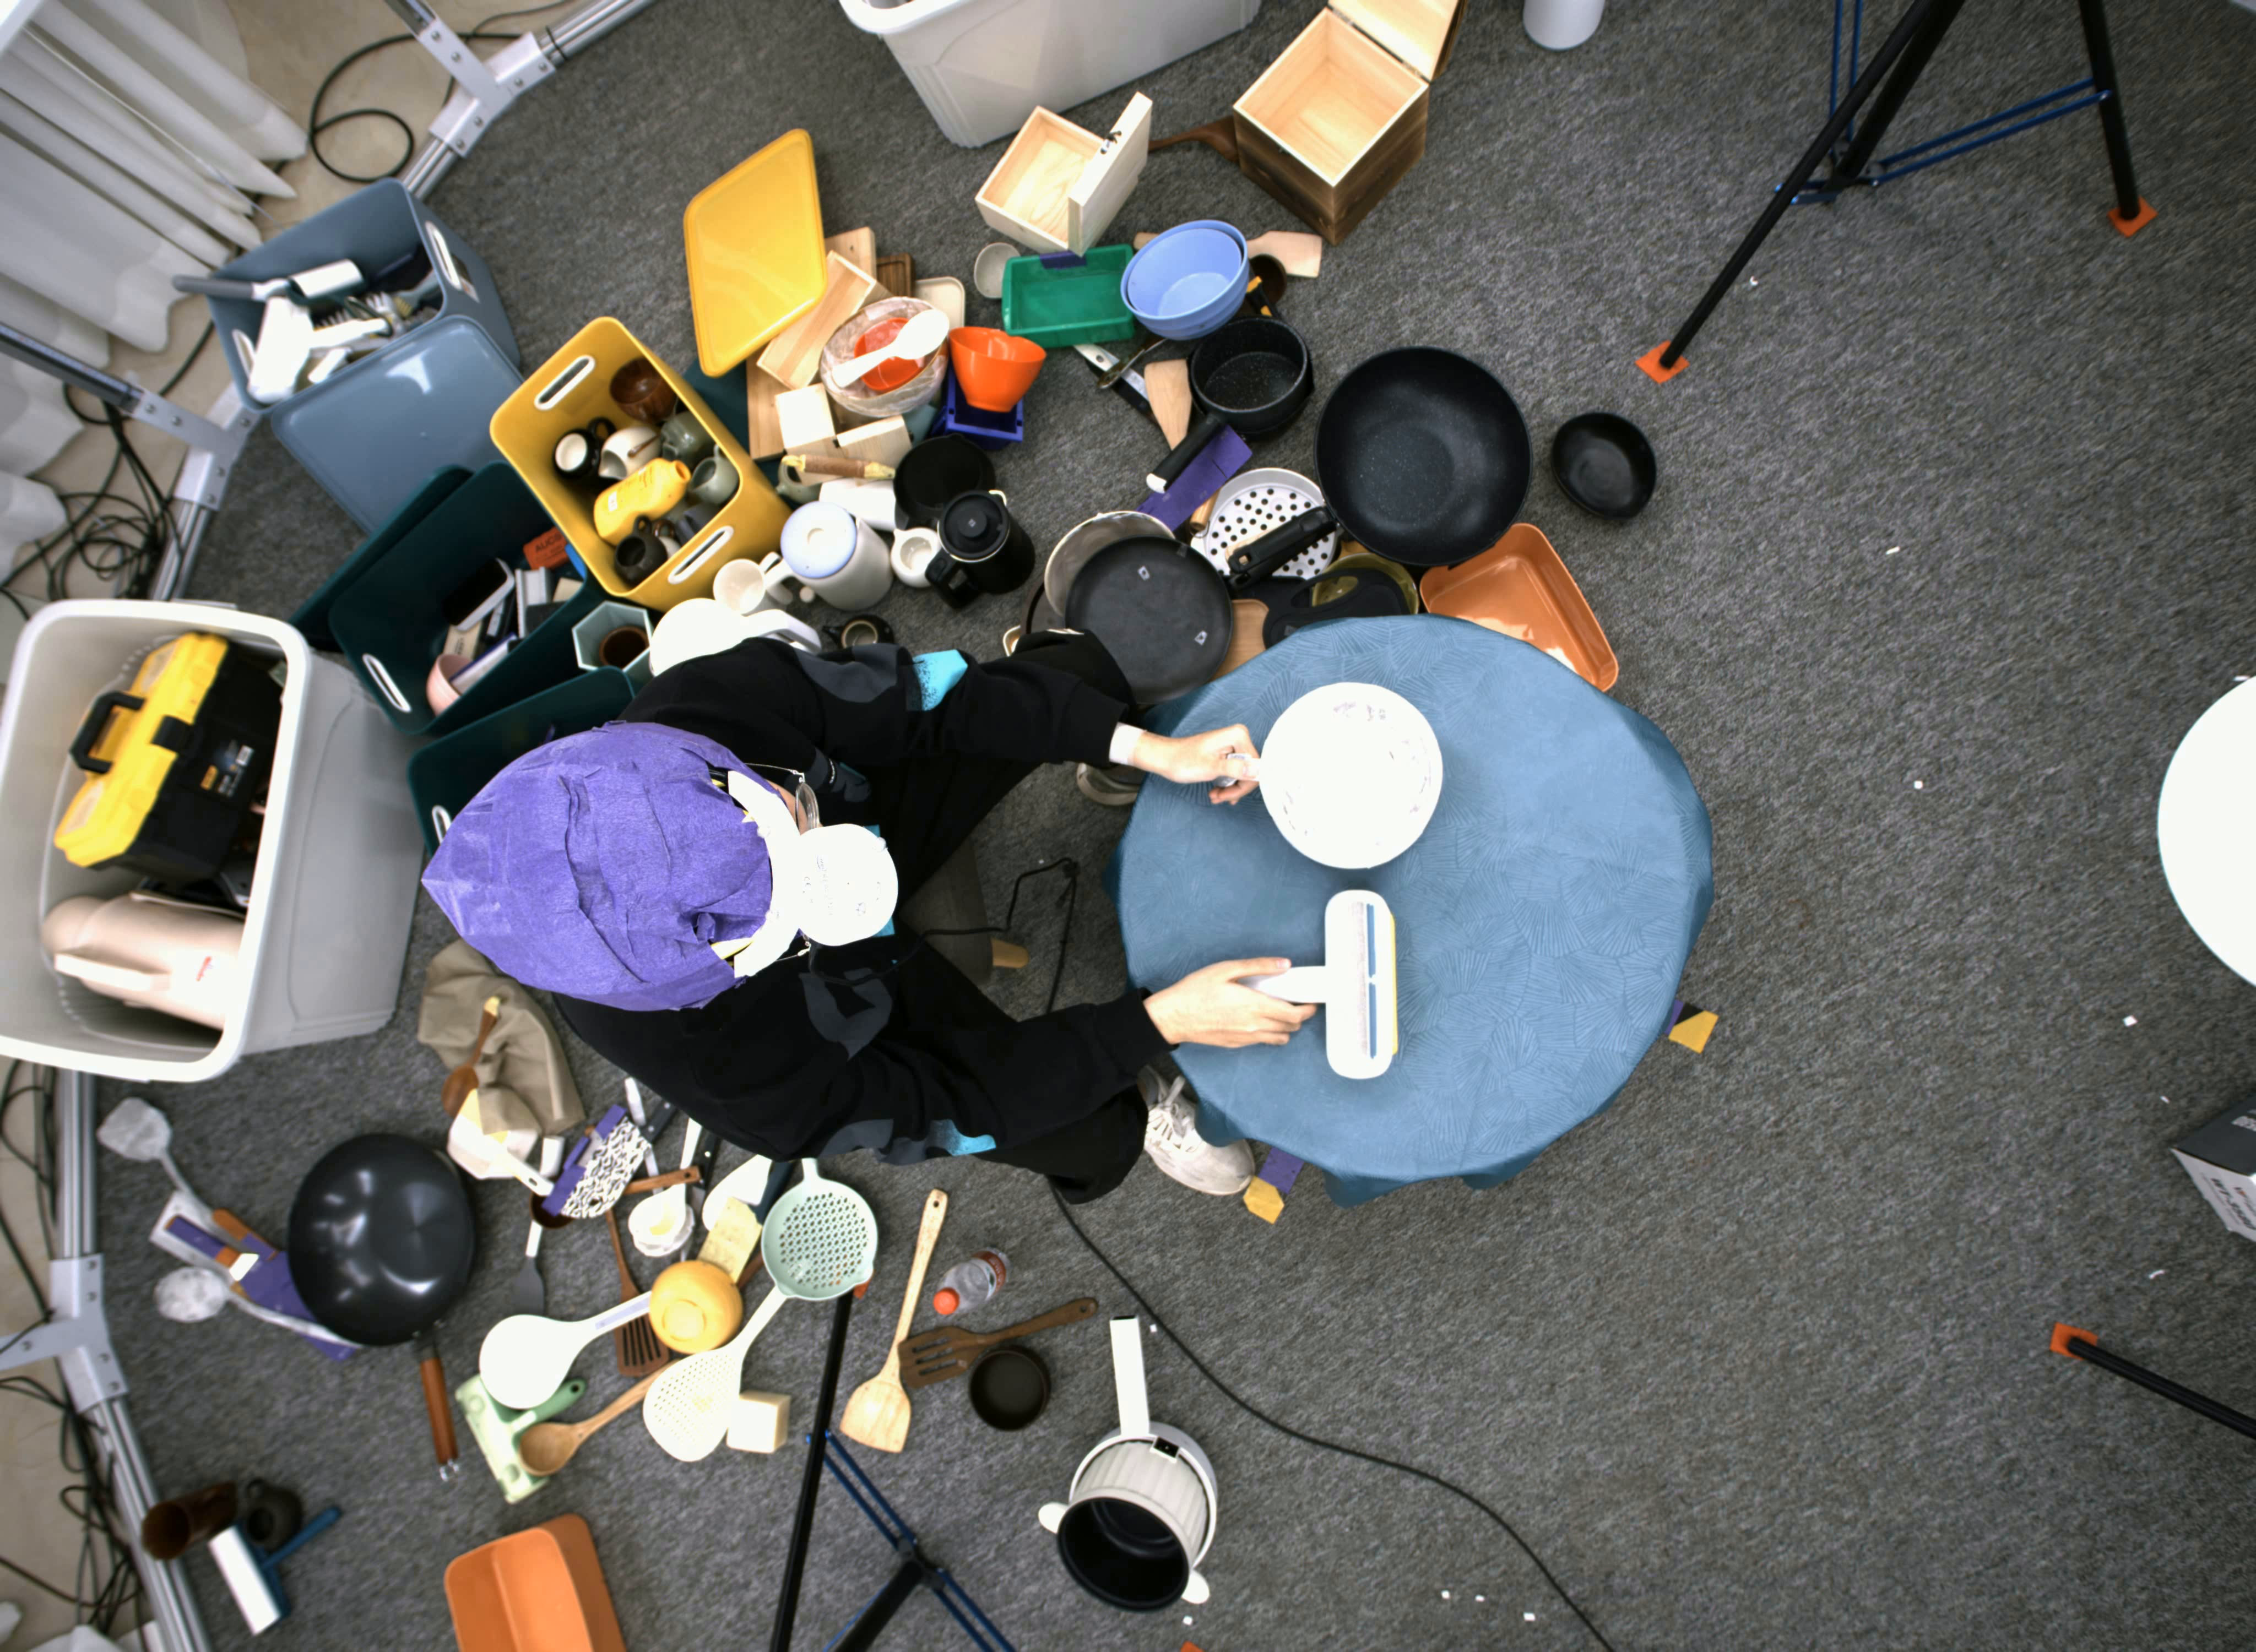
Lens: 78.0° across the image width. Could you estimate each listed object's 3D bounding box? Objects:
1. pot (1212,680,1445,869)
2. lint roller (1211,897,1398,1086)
[{"bbox_3d":[0.199,-0.050,1.403,0.234,0.137,0.178,4,85,9],"label":"pot"},{"bbox_3d":[0.179,0.166,1.433,0.193,0.074,0.191,2,81,12],"label":"lint roller"}]
